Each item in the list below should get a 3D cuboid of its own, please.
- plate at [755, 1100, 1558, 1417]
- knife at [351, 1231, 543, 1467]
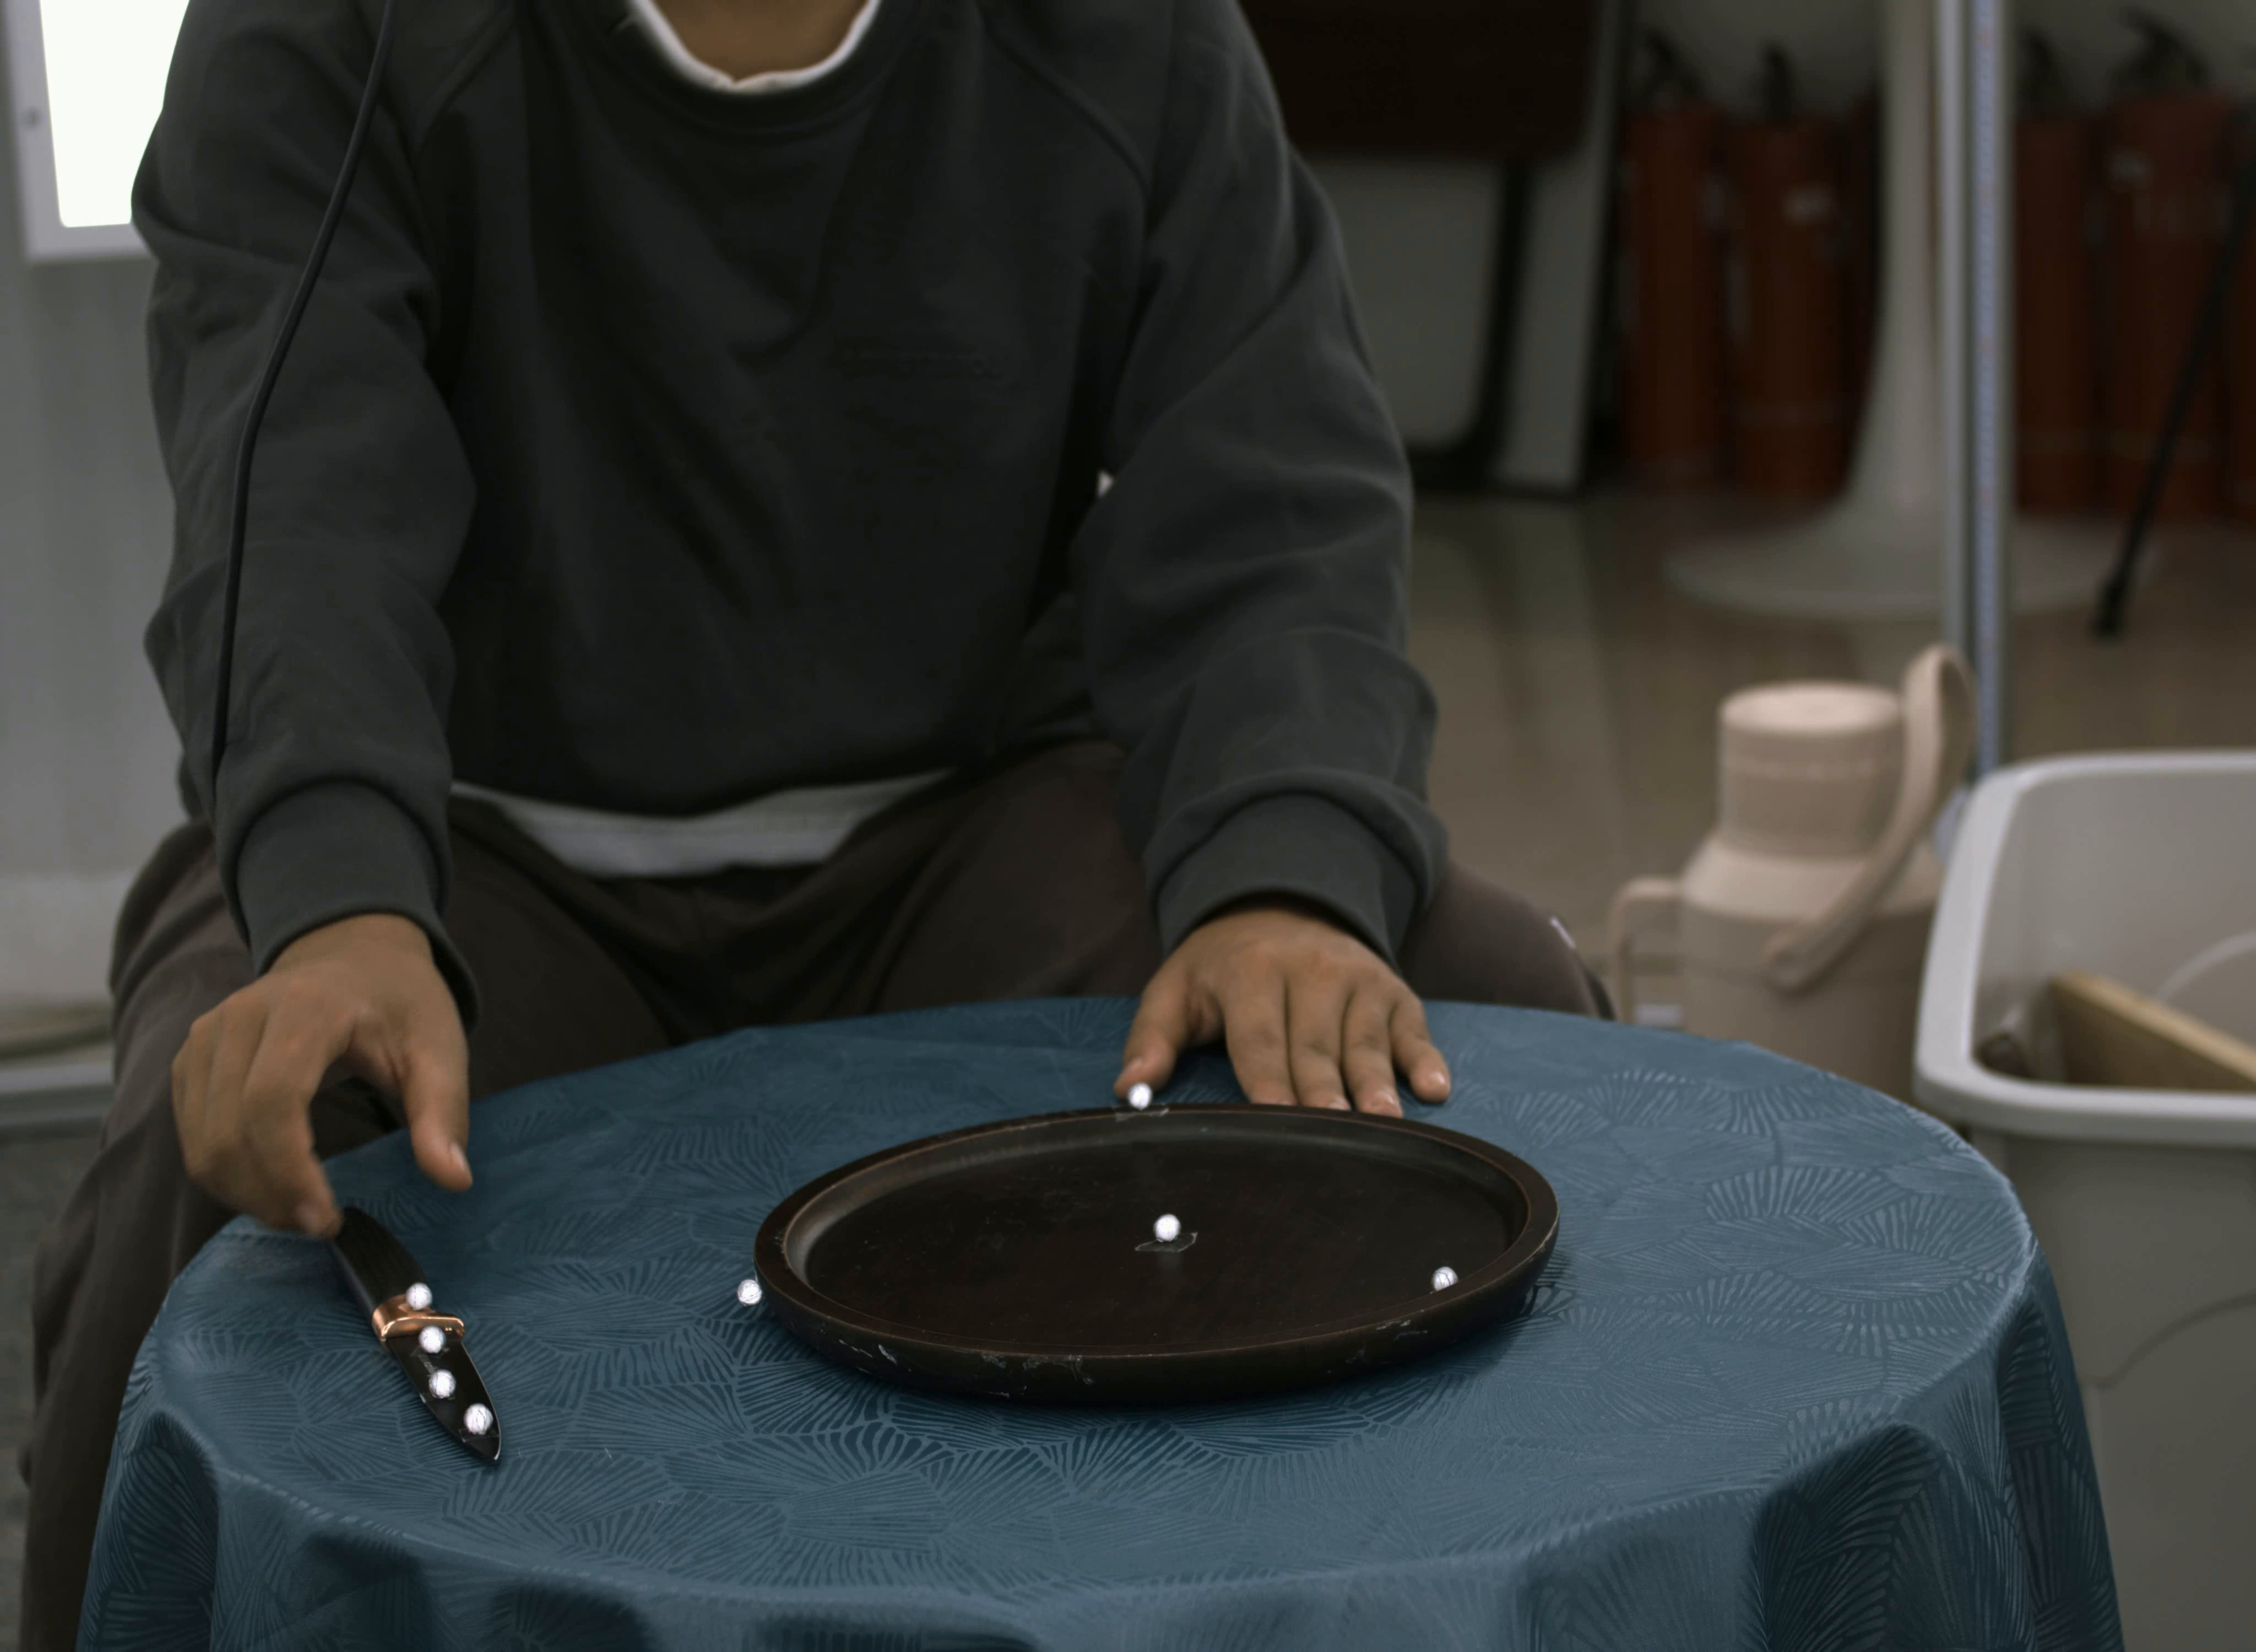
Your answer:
[{"bbox_3d":[0.010,0.132,1.678,0.251,0.029,0.255,-5,13,0],"label":"plate"},{"bbox_3d":[-0.210,0.160,1.654,0.025,0.017,0.227,-5,13,-17],"label":"knife"}]
